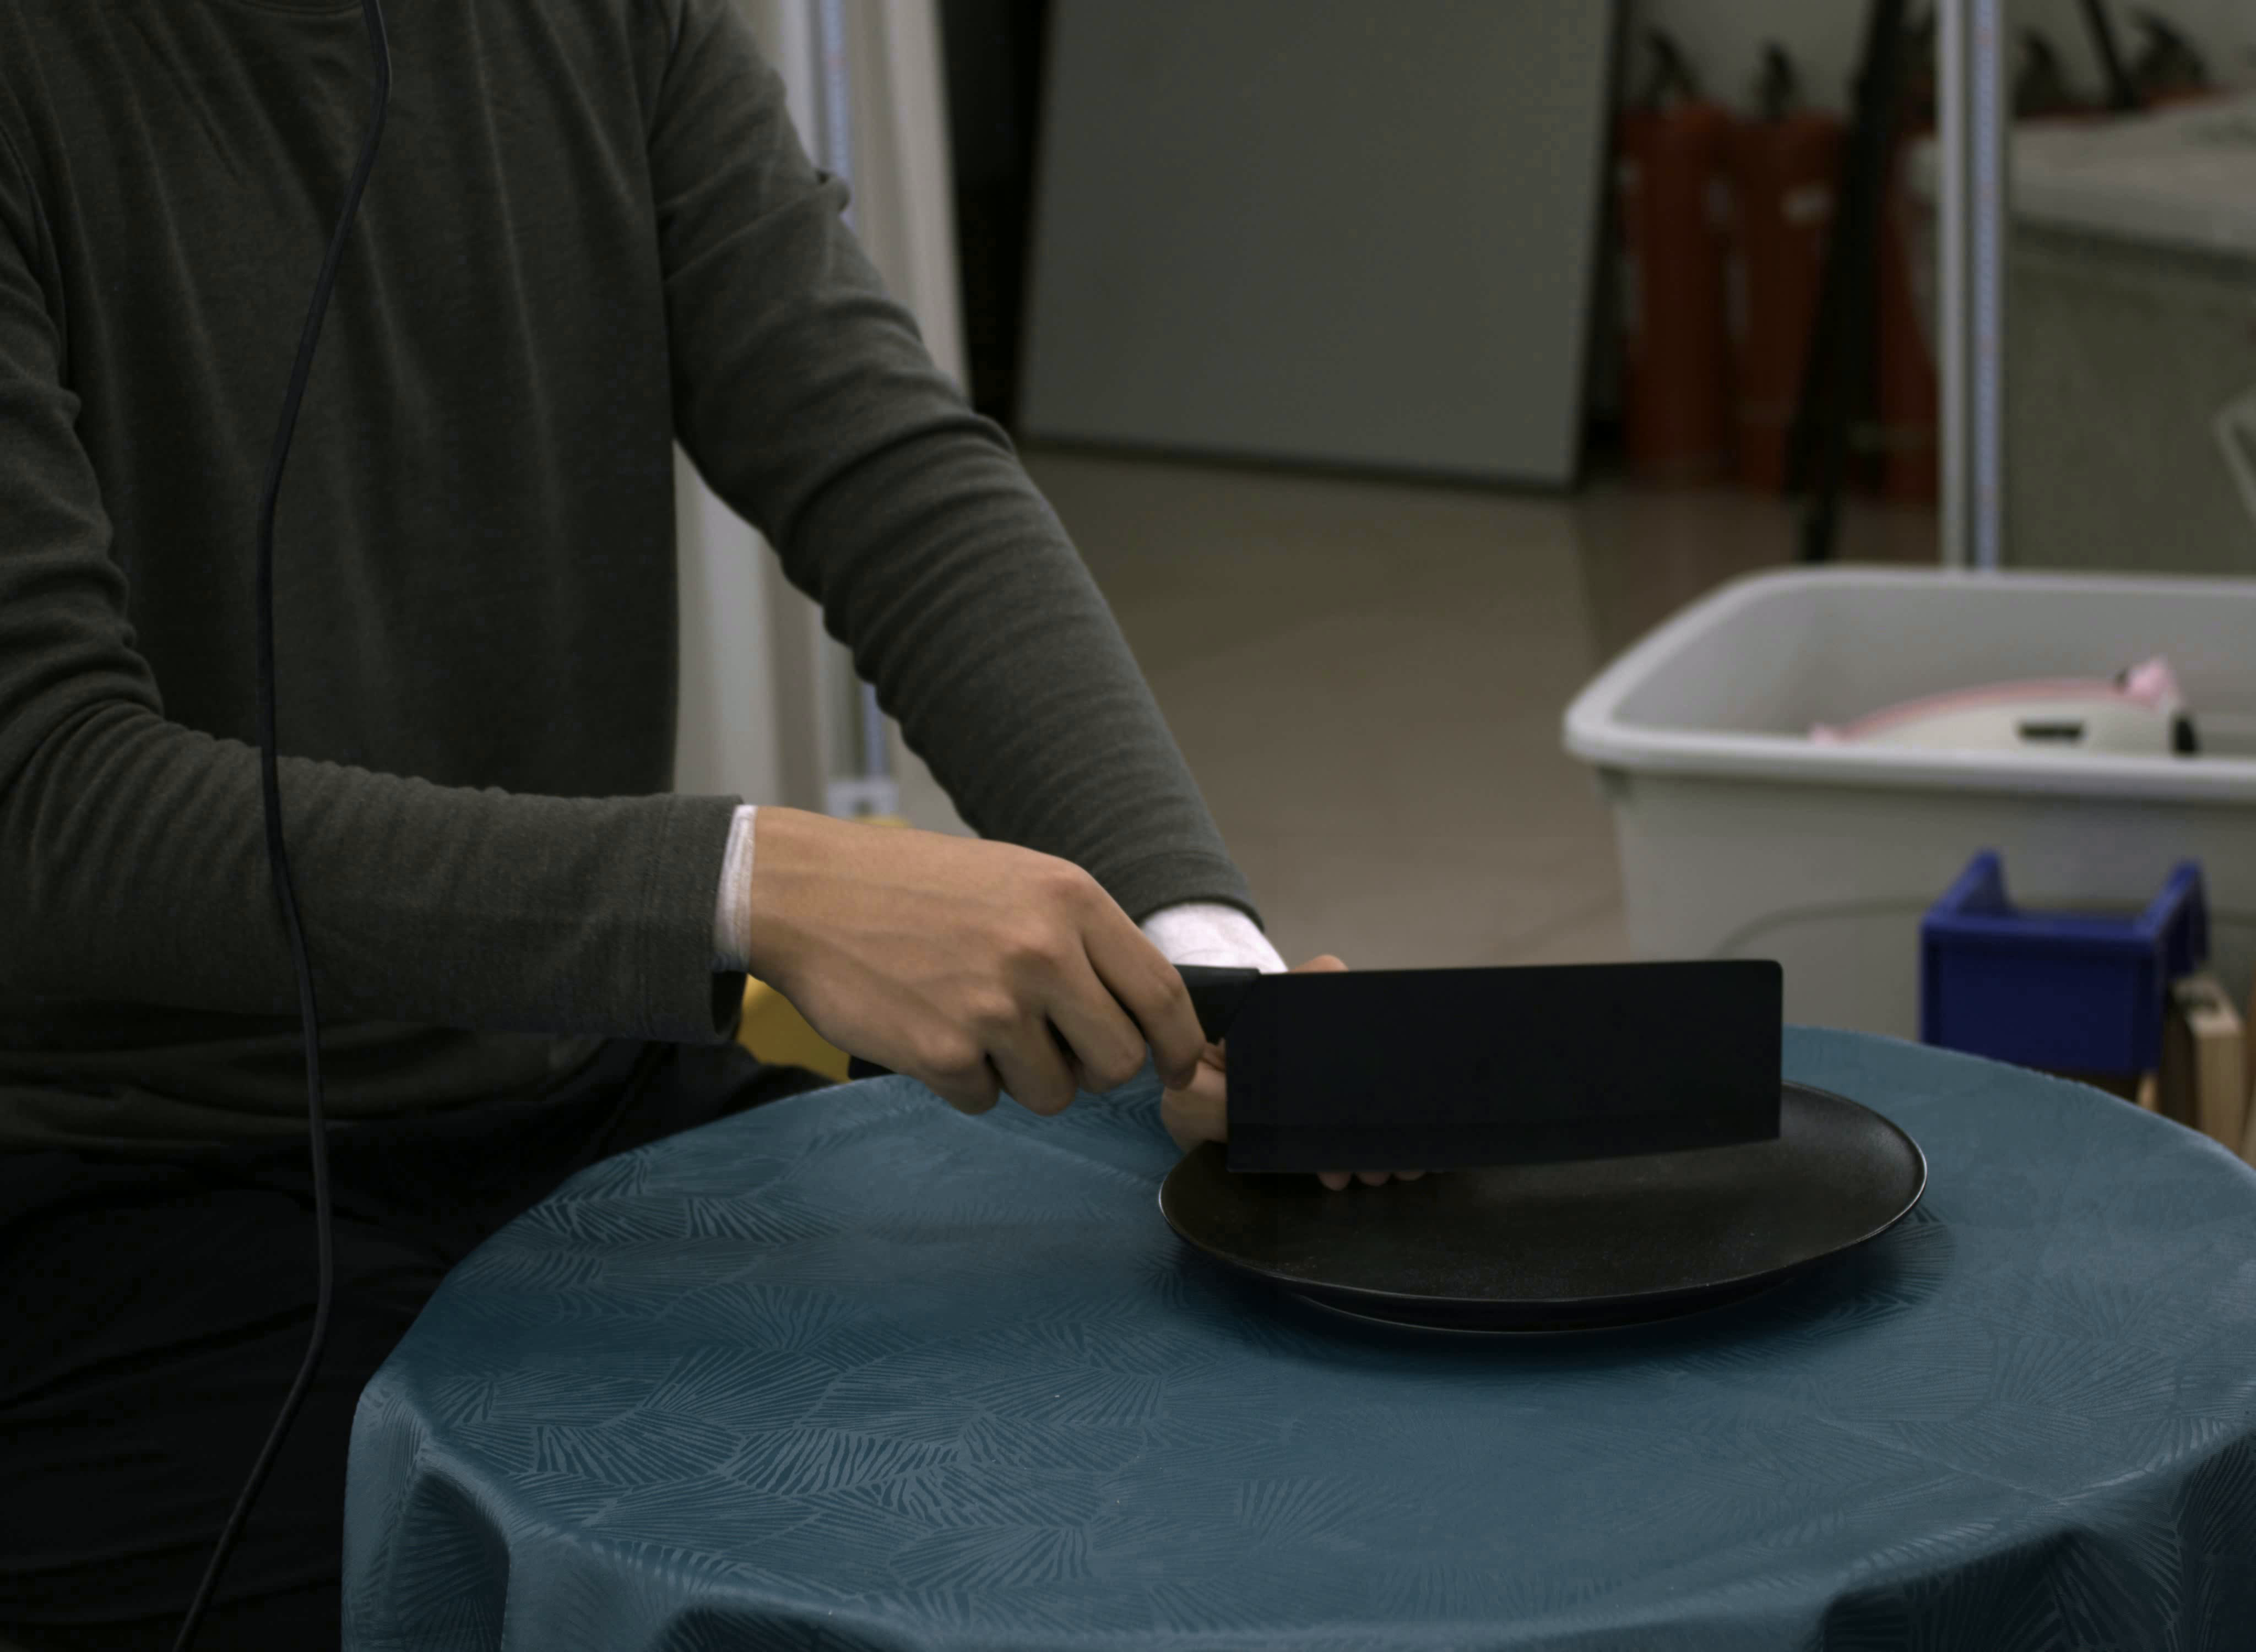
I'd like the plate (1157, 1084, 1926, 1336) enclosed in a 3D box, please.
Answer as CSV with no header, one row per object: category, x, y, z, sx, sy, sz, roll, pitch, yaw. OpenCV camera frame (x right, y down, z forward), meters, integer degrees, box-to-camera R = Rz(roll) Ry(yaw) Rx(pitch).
plate,0.130,0.120,1.693,0.241,0.024,0.245,-4,13,0

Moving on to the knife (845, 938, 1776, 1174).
knife,0.060,0.071,1.711,0.298,0.082,0.021,2,9,-2
